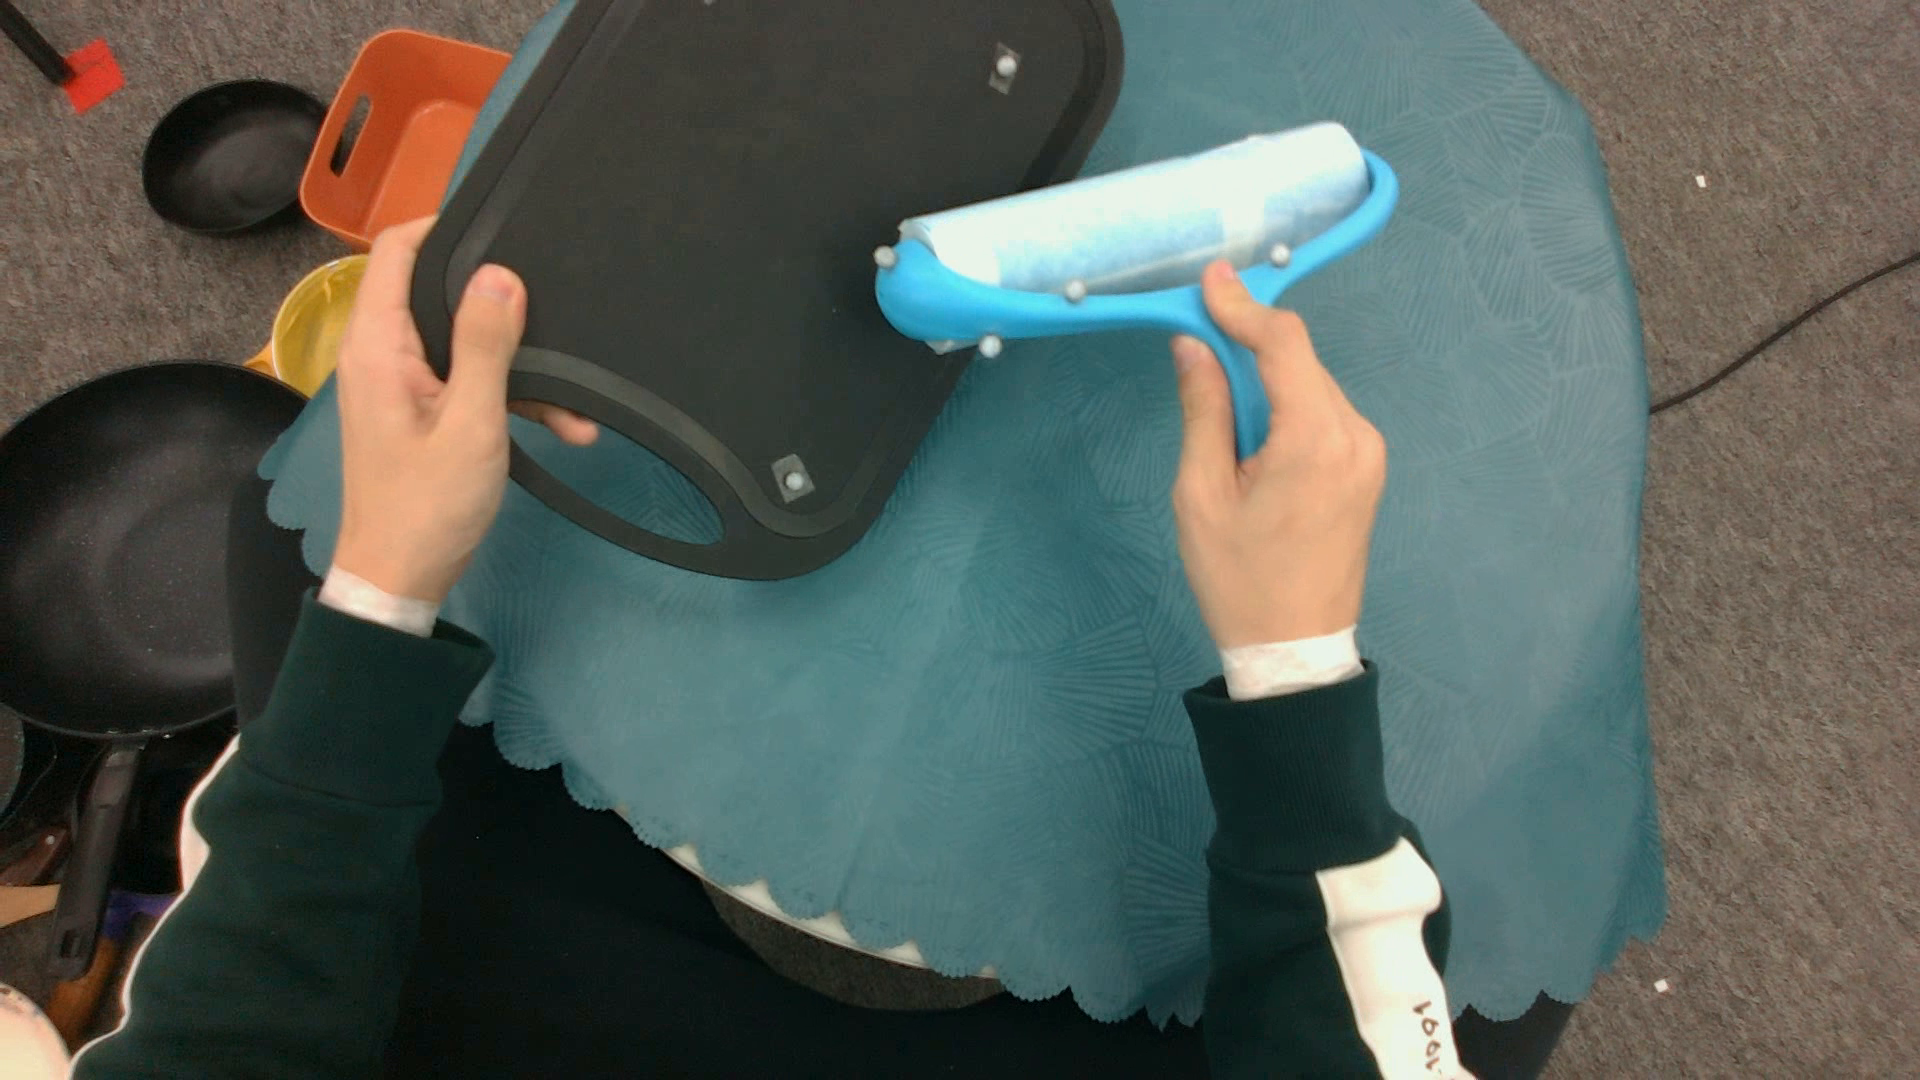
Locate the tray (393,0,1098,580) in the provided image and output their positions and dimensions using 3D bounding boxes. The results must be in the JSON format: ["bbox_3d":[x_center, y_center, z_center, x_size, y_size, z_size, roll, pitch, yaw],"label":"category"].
[{"bbox_3d":[-0.078,-0.145,0.572,0.211,0.010,0.326,32,82,-24],"label":"tray"}]

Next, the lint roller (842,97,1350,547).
[{"bbox_3d":[0.086,-0.087,0.551,0.229,0.067,0.180,-22,70,-22],"label":"lint roller"}]
